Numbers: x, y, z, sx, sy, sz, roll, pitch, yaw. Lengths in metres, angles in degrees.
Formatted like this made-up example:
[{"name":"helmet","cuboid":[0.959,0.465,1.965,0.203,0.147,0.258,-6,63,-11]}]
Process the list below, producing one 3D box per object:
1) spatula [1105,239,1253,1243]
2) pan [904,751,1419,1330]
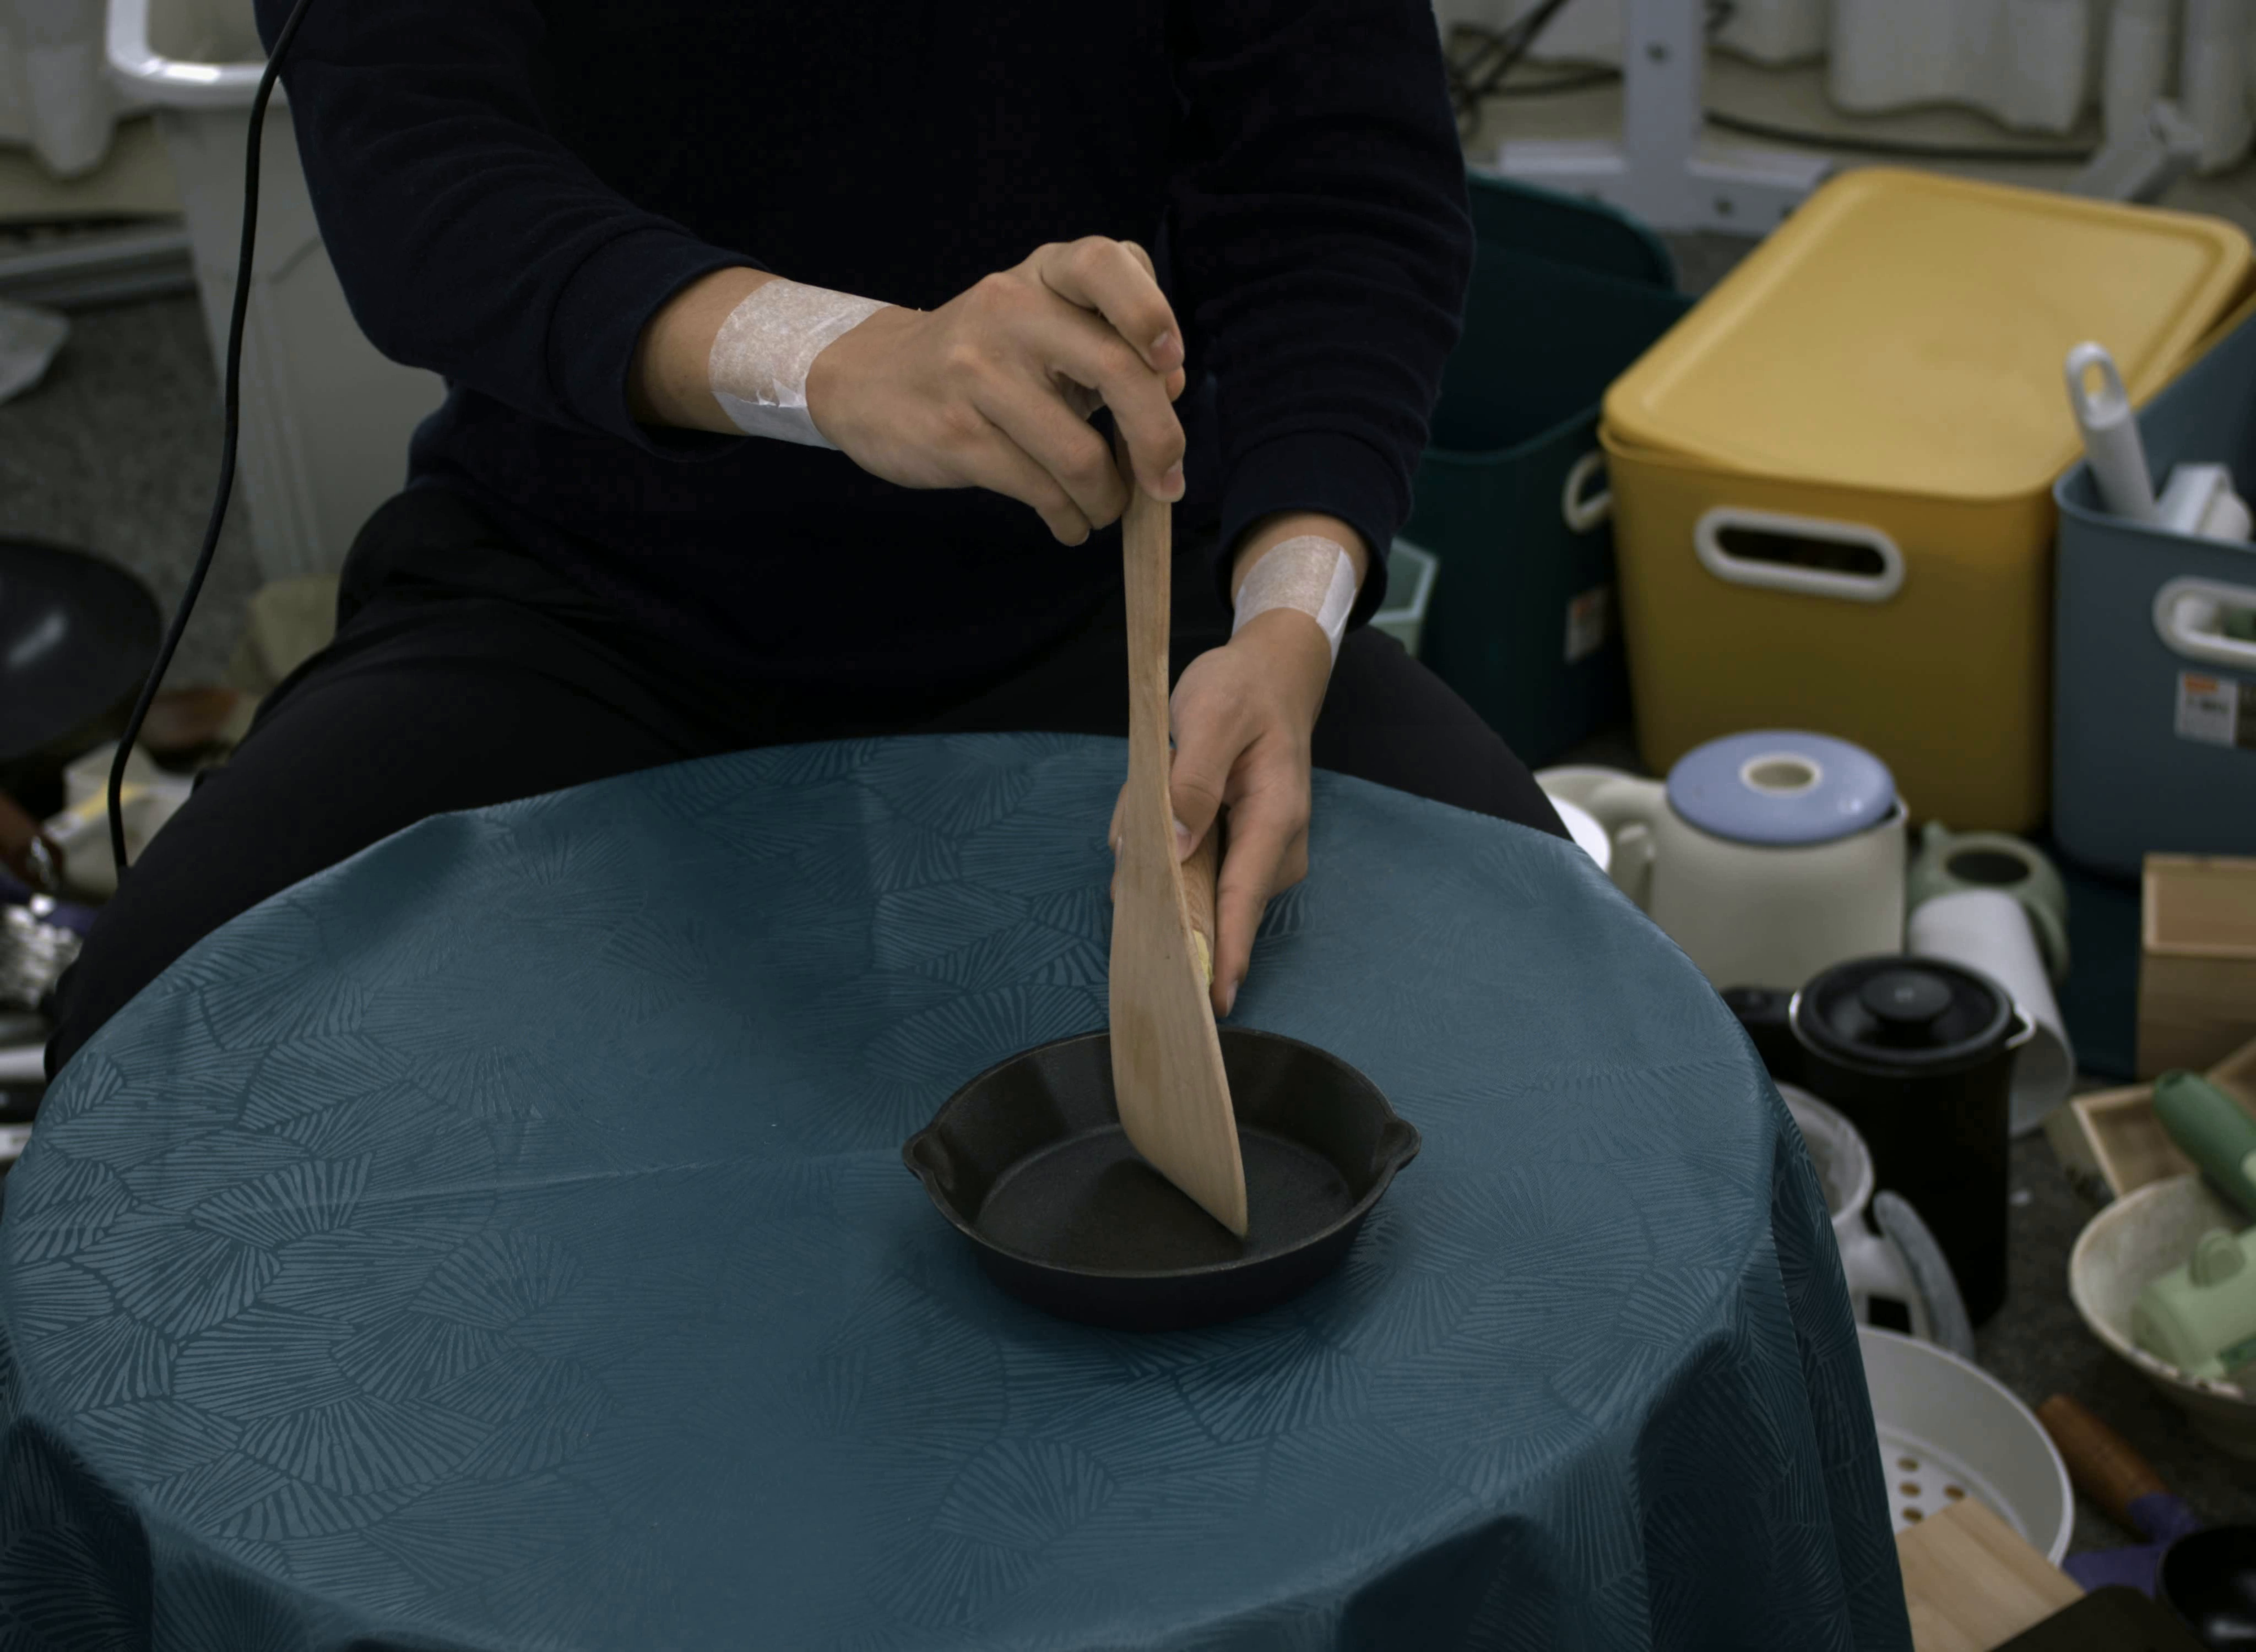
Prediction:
[{"name":"spatula","cuboid":[0.010,-0.027,1.807,0.016,0.326,0.080,-11,17,-30]},{"name":"pan","cuboid":[0.017,0.070,1.906,0.168,0.049,0.329,0,29,5]}]
